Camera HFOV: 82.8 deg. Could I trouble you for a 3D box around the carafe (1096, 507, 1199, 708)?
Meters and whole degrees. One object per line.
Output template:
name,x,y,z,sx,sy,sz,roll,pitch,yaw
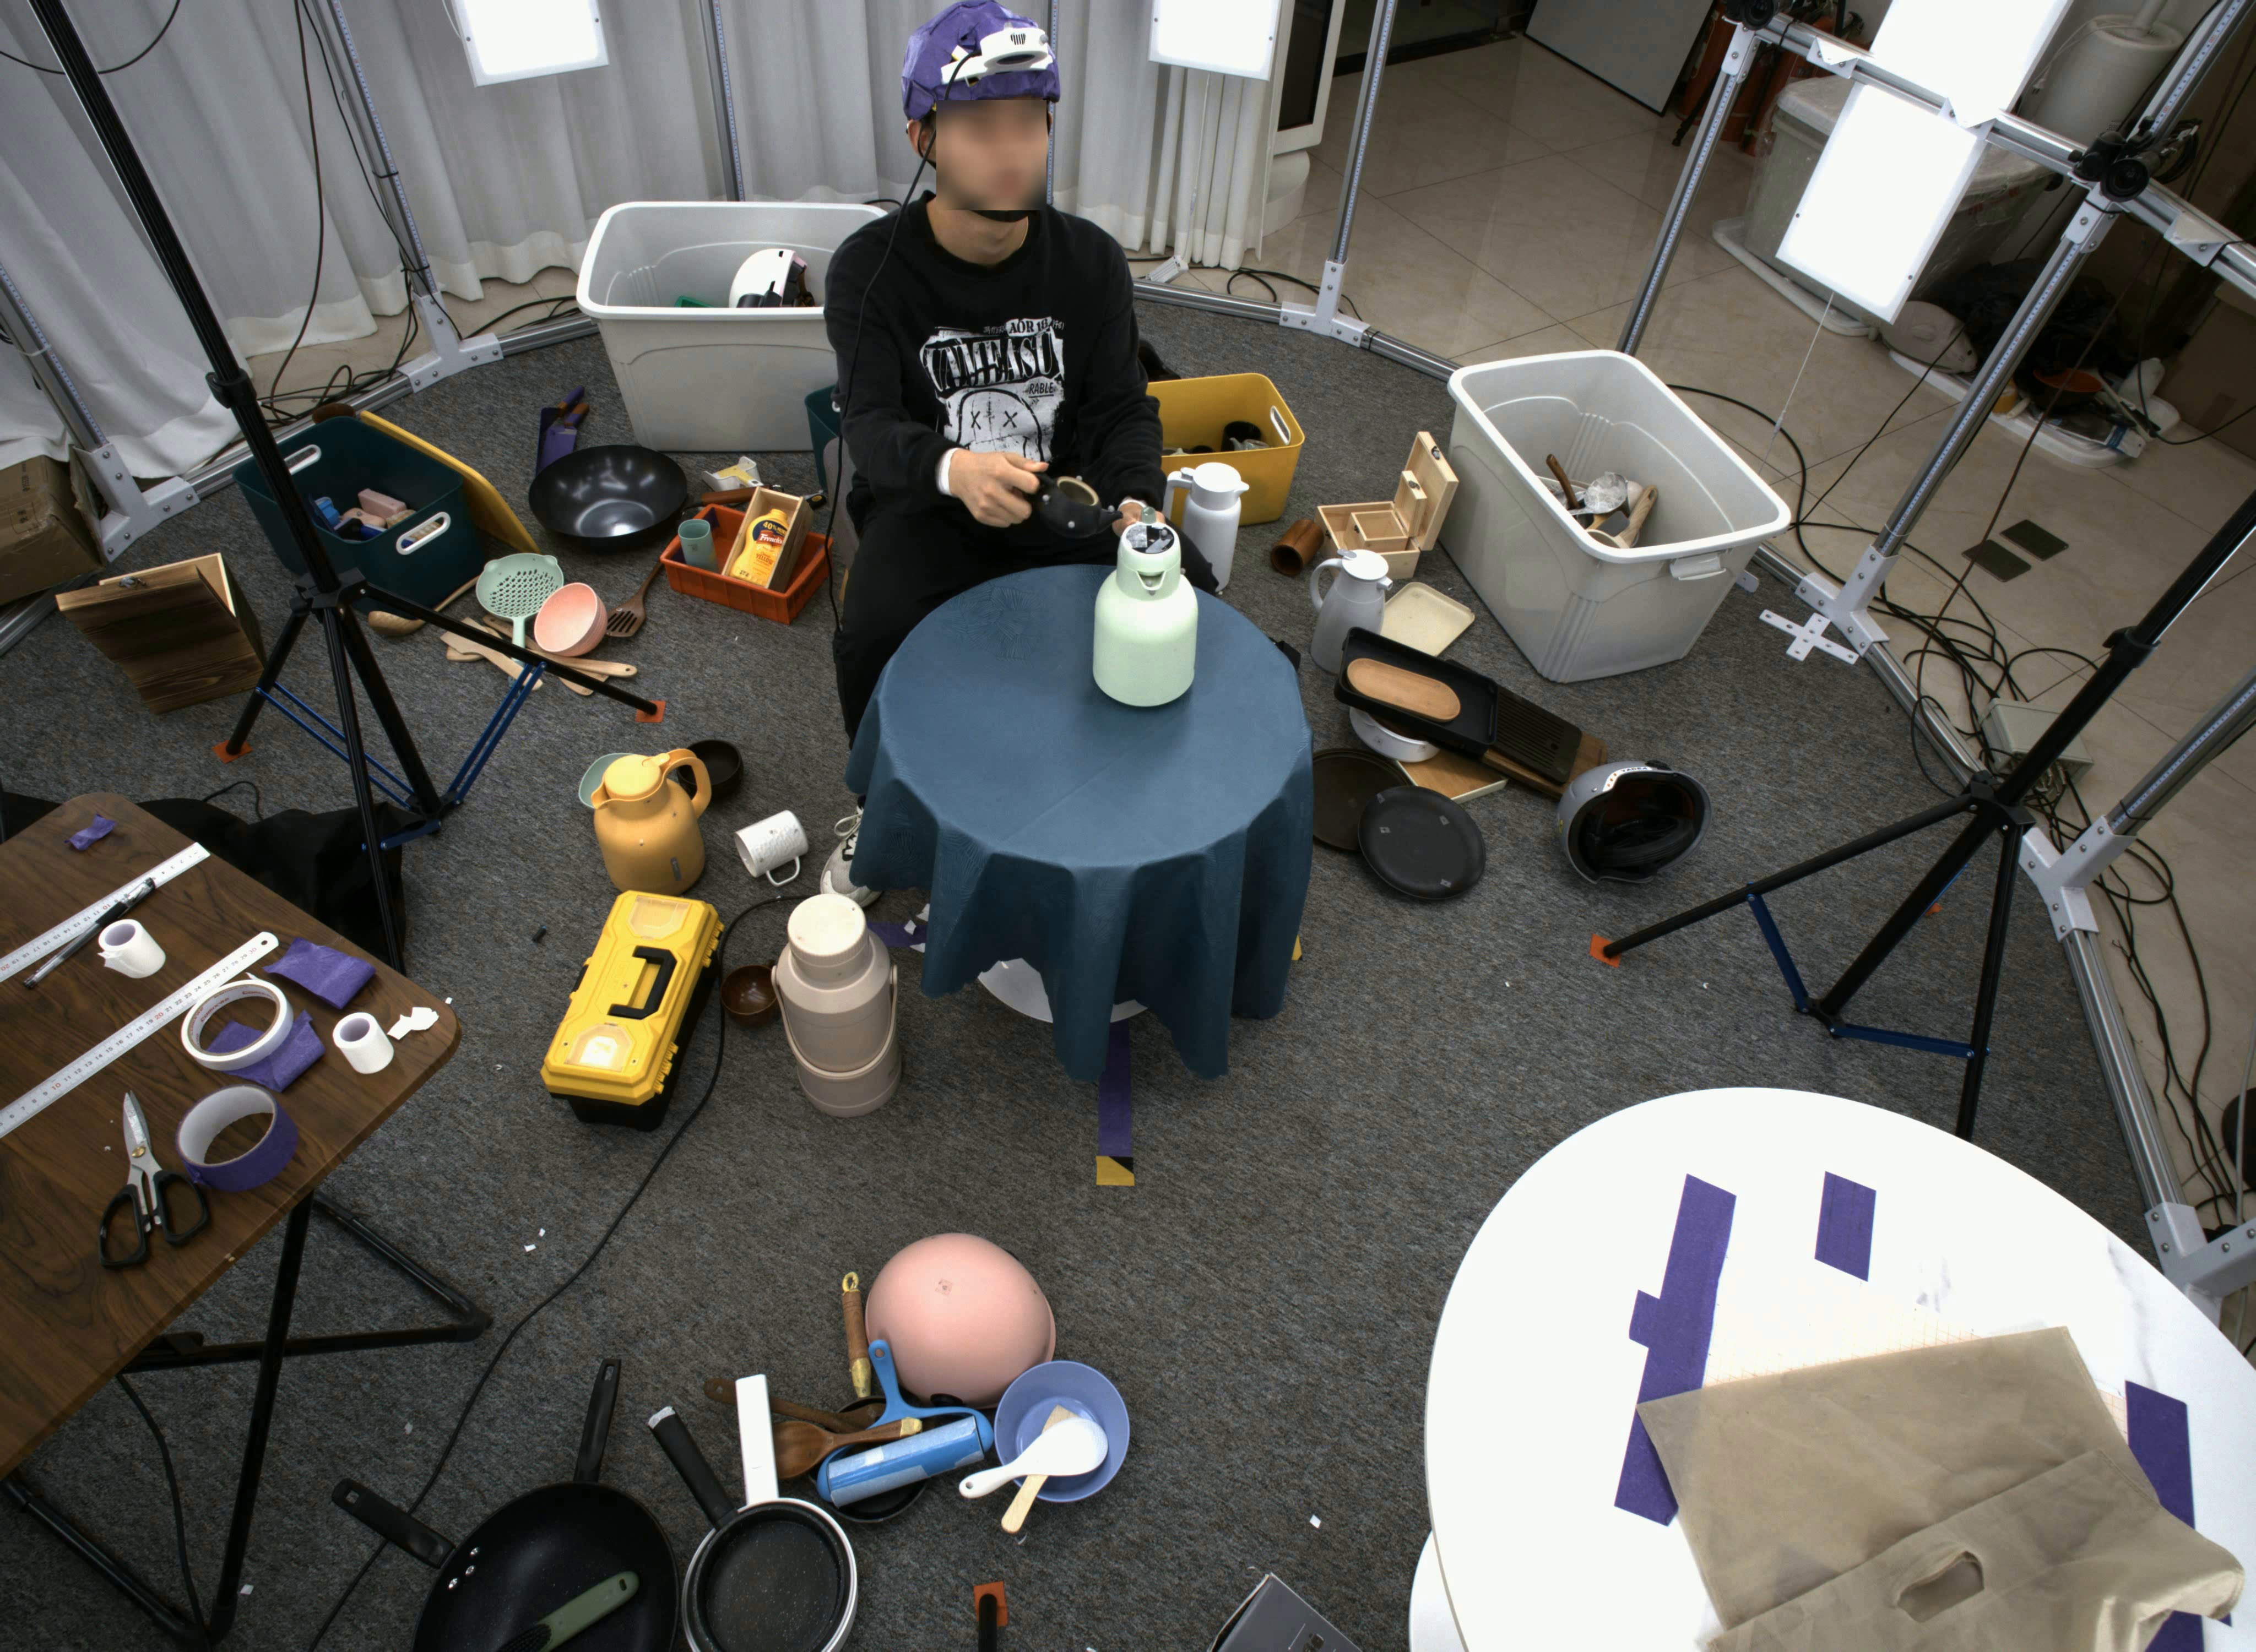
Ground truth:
carafe,0.026,-0.305,1.772,0.144,0.250,0.191,-2,46,-1

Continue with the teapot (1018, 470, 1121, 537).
teapot,-0.078,-0.402,1.620,0.132,0.052,0.093,23,37,-13
